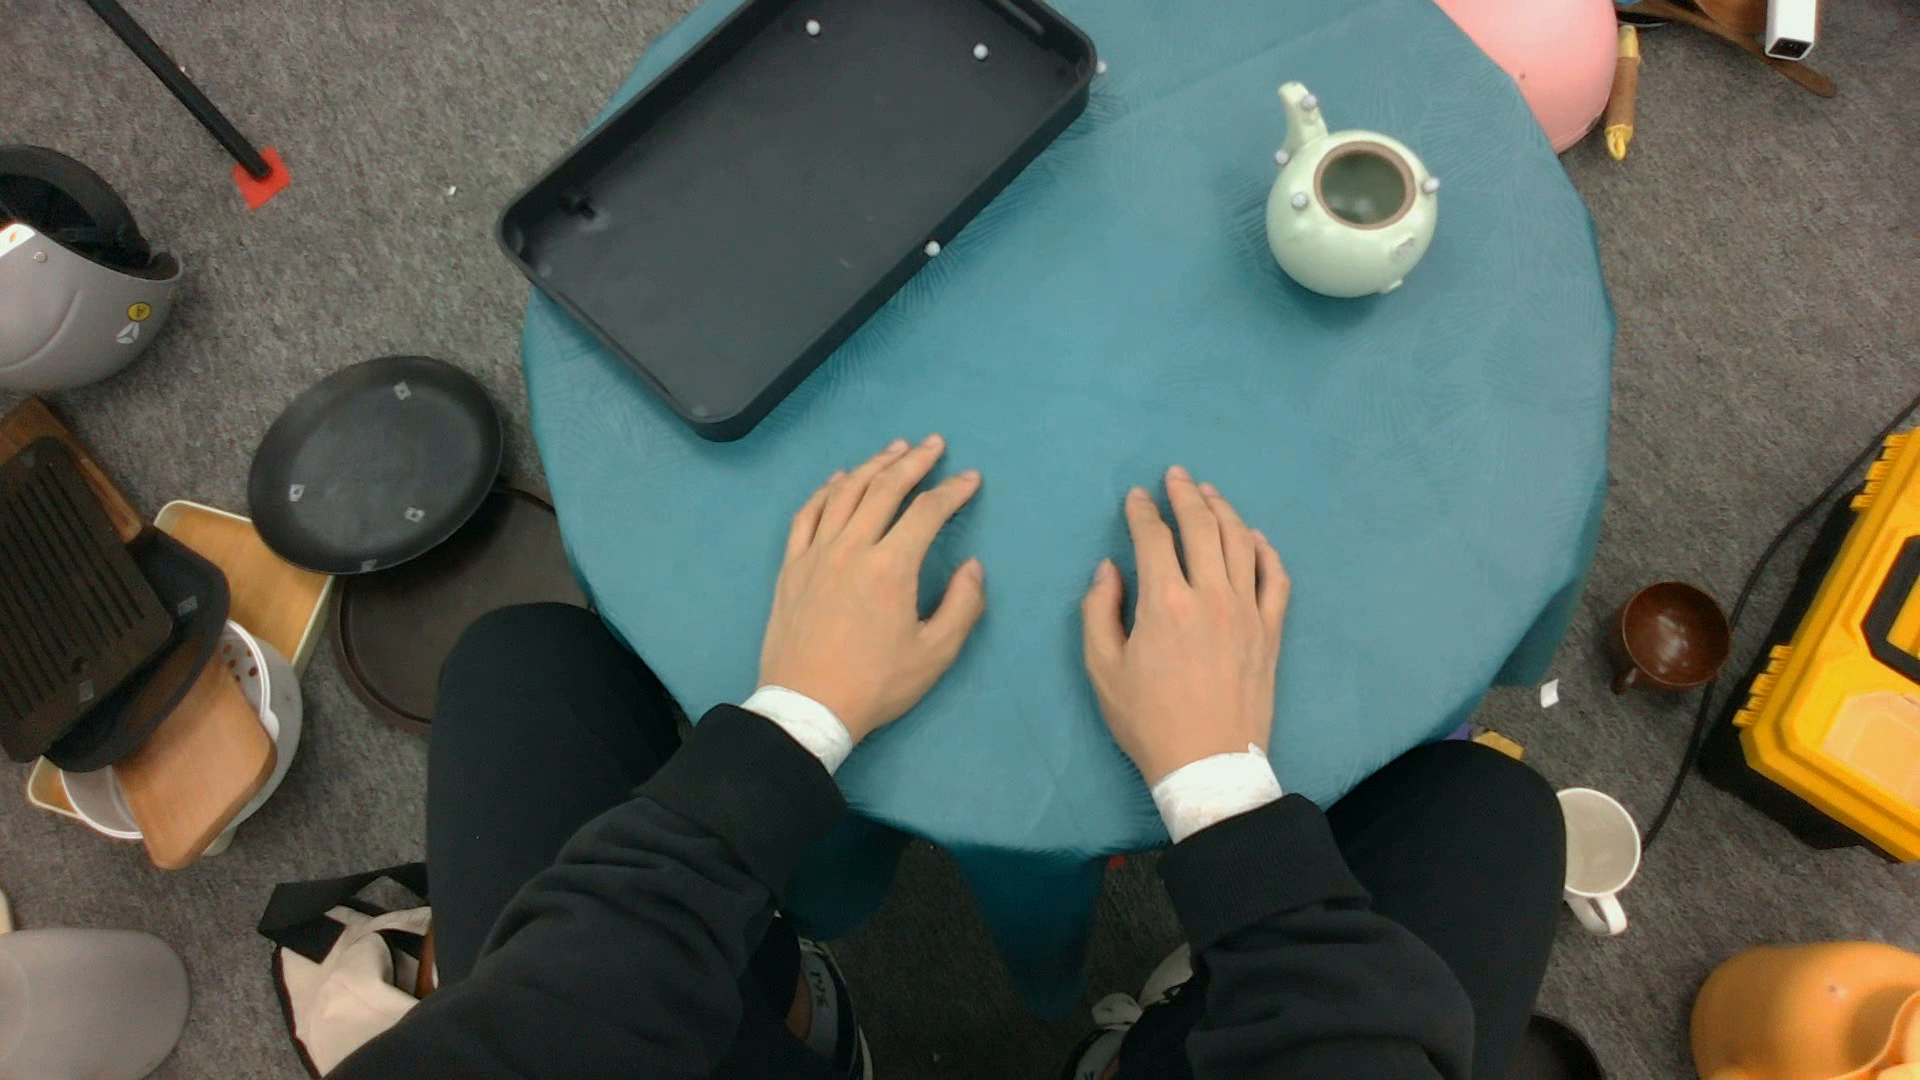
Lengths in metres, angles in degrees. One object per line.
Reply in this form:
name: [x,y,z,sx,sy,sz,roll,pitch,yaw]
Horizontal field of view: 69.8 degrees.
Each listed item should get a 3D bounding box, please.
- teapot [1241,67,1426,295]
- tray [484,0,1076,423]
teapot: [0.197,-0.185,0.745,0.088,0.074,0.144,-30,73,-8]
tray: [-0.096,-0.228,0.781,0.184,0.037,0.318,39,77,12]
